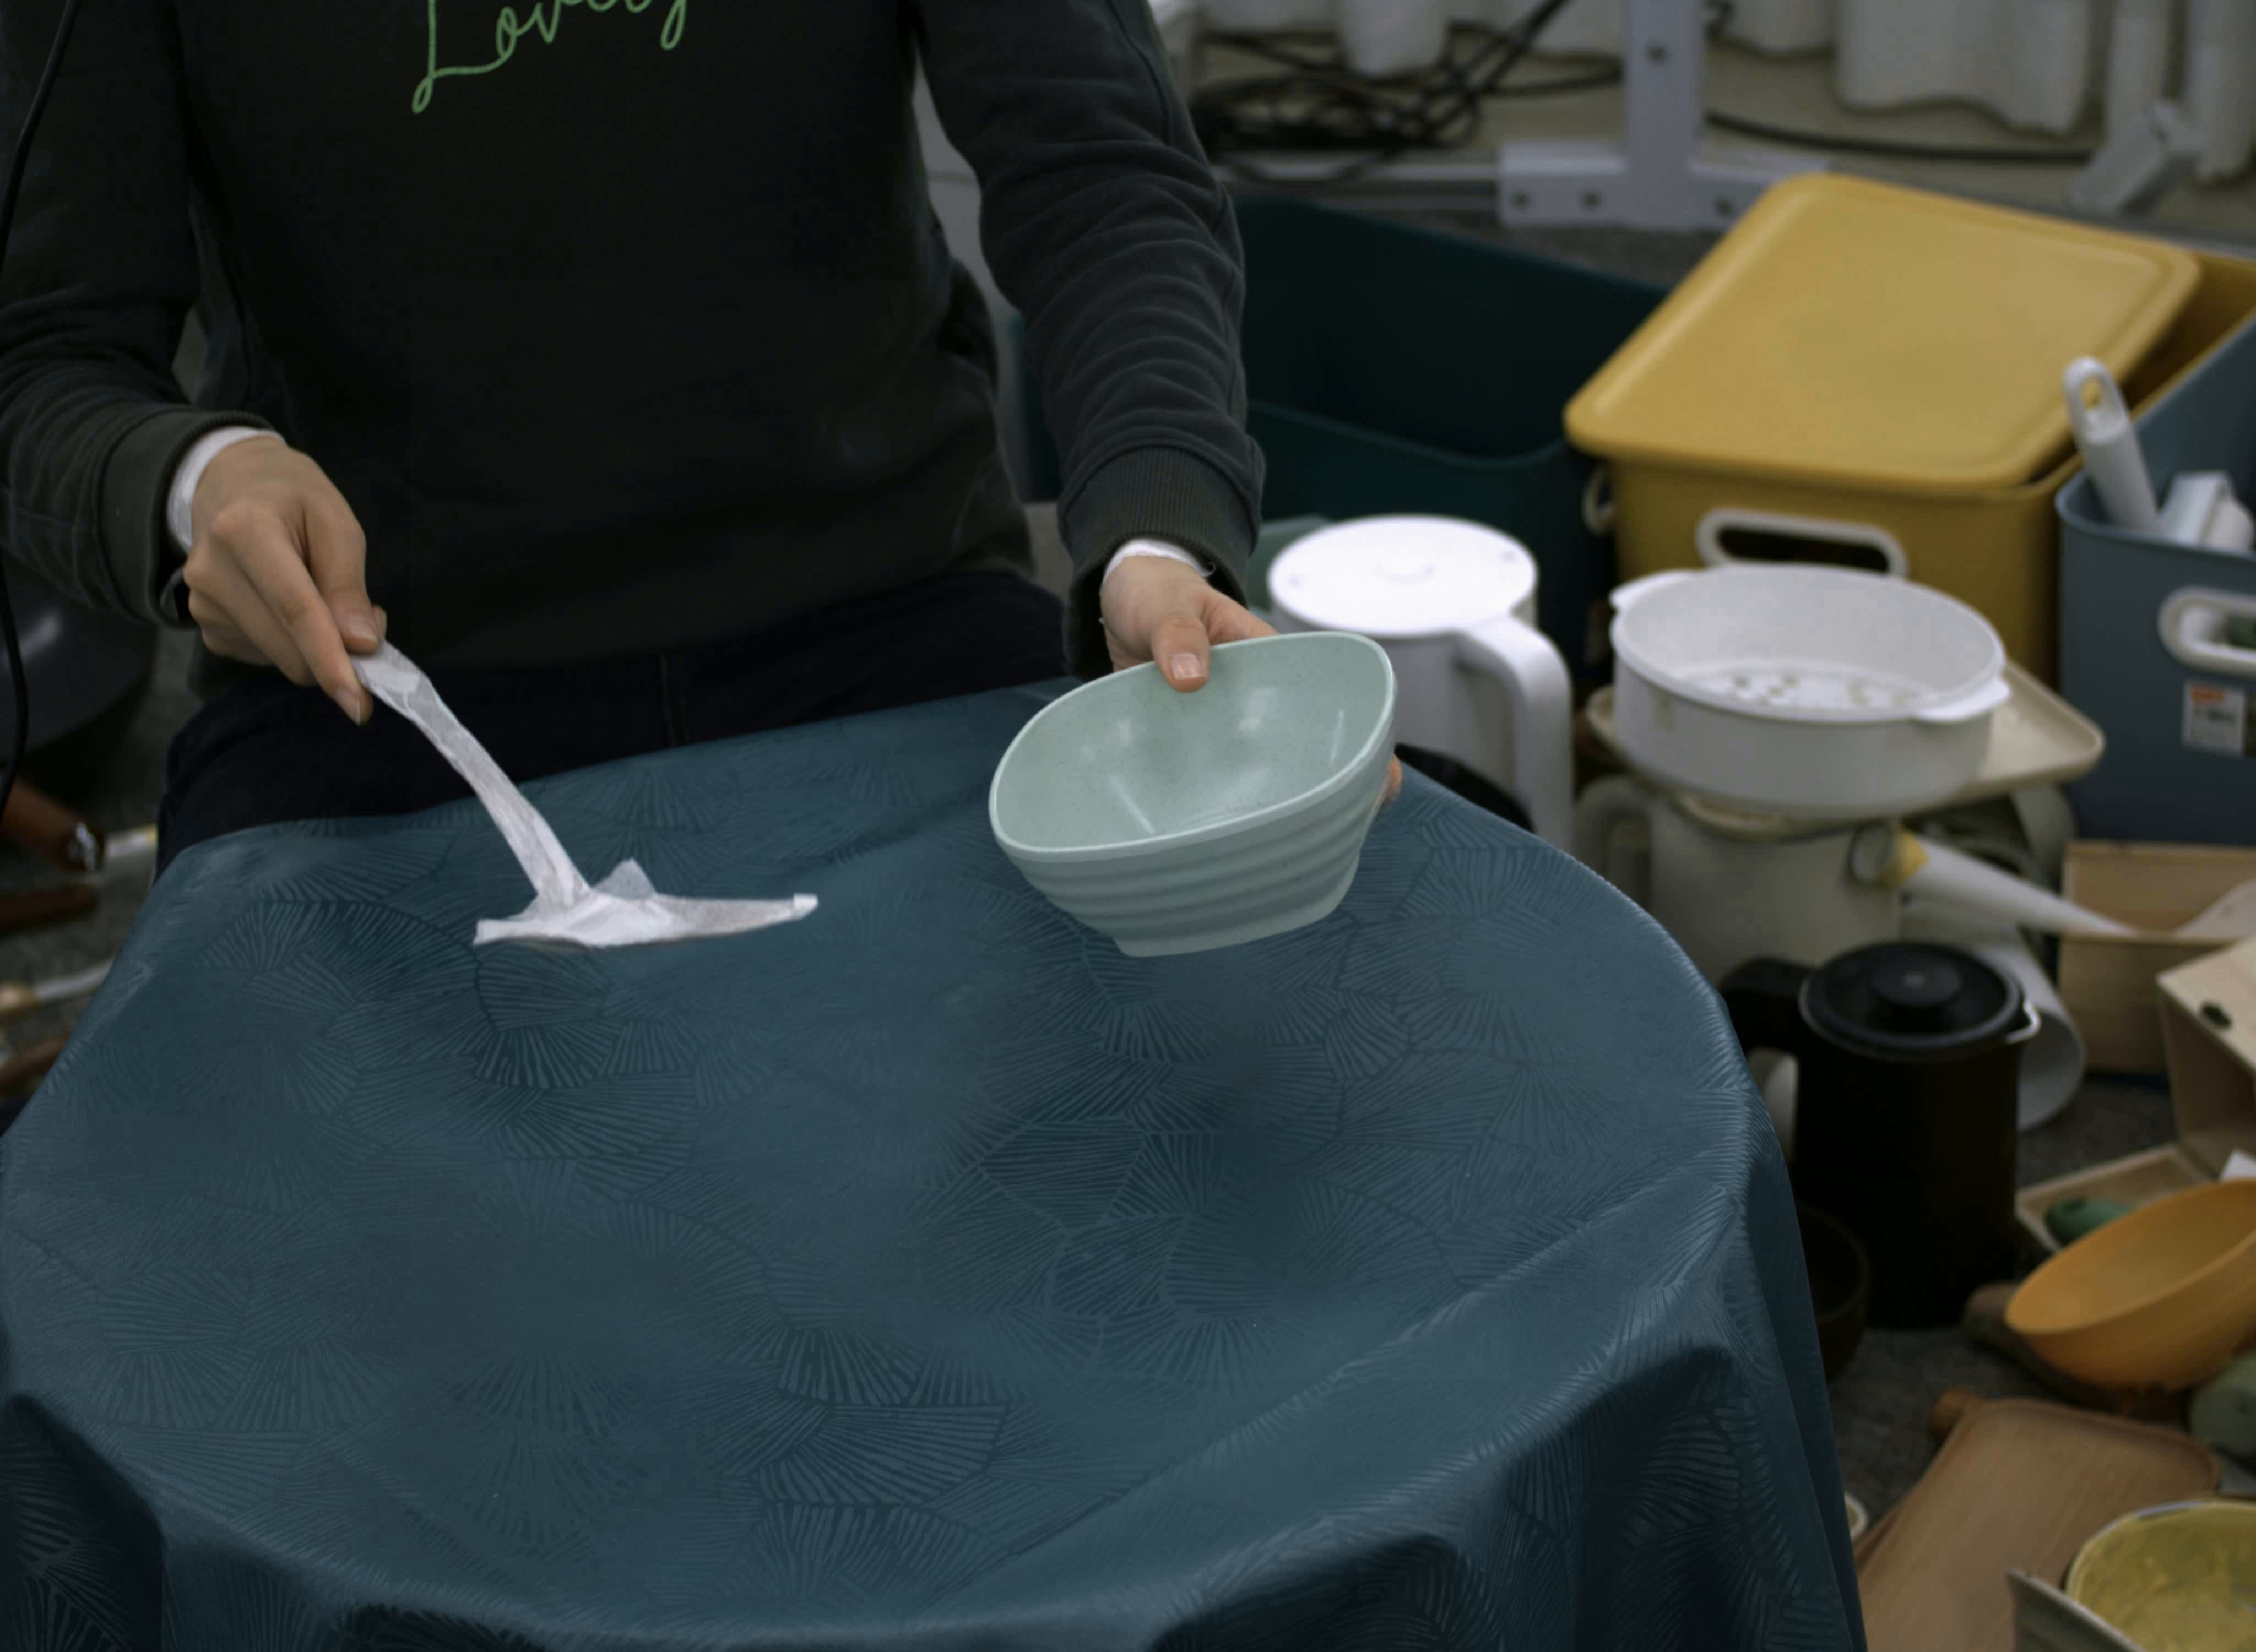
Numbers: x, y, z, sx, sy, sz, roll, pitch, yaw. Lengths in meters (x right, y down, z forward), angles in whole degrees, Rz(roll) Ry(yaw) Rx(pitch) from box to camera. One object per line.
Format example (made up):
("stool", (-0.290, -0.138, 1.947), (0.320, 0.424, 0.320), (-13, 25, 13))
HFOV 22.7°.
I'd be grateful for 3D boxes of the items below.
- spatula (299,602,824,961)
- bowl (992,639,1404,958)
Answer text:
("spatula", (-0.211, -0.022, 1.850), (0.099, 0.044, 0.367), (-8, 27, -26))
("bowl", (0.029, -0.003, 1.863), (0.150, 0.058, 0.154), (-12, 26, 6))
